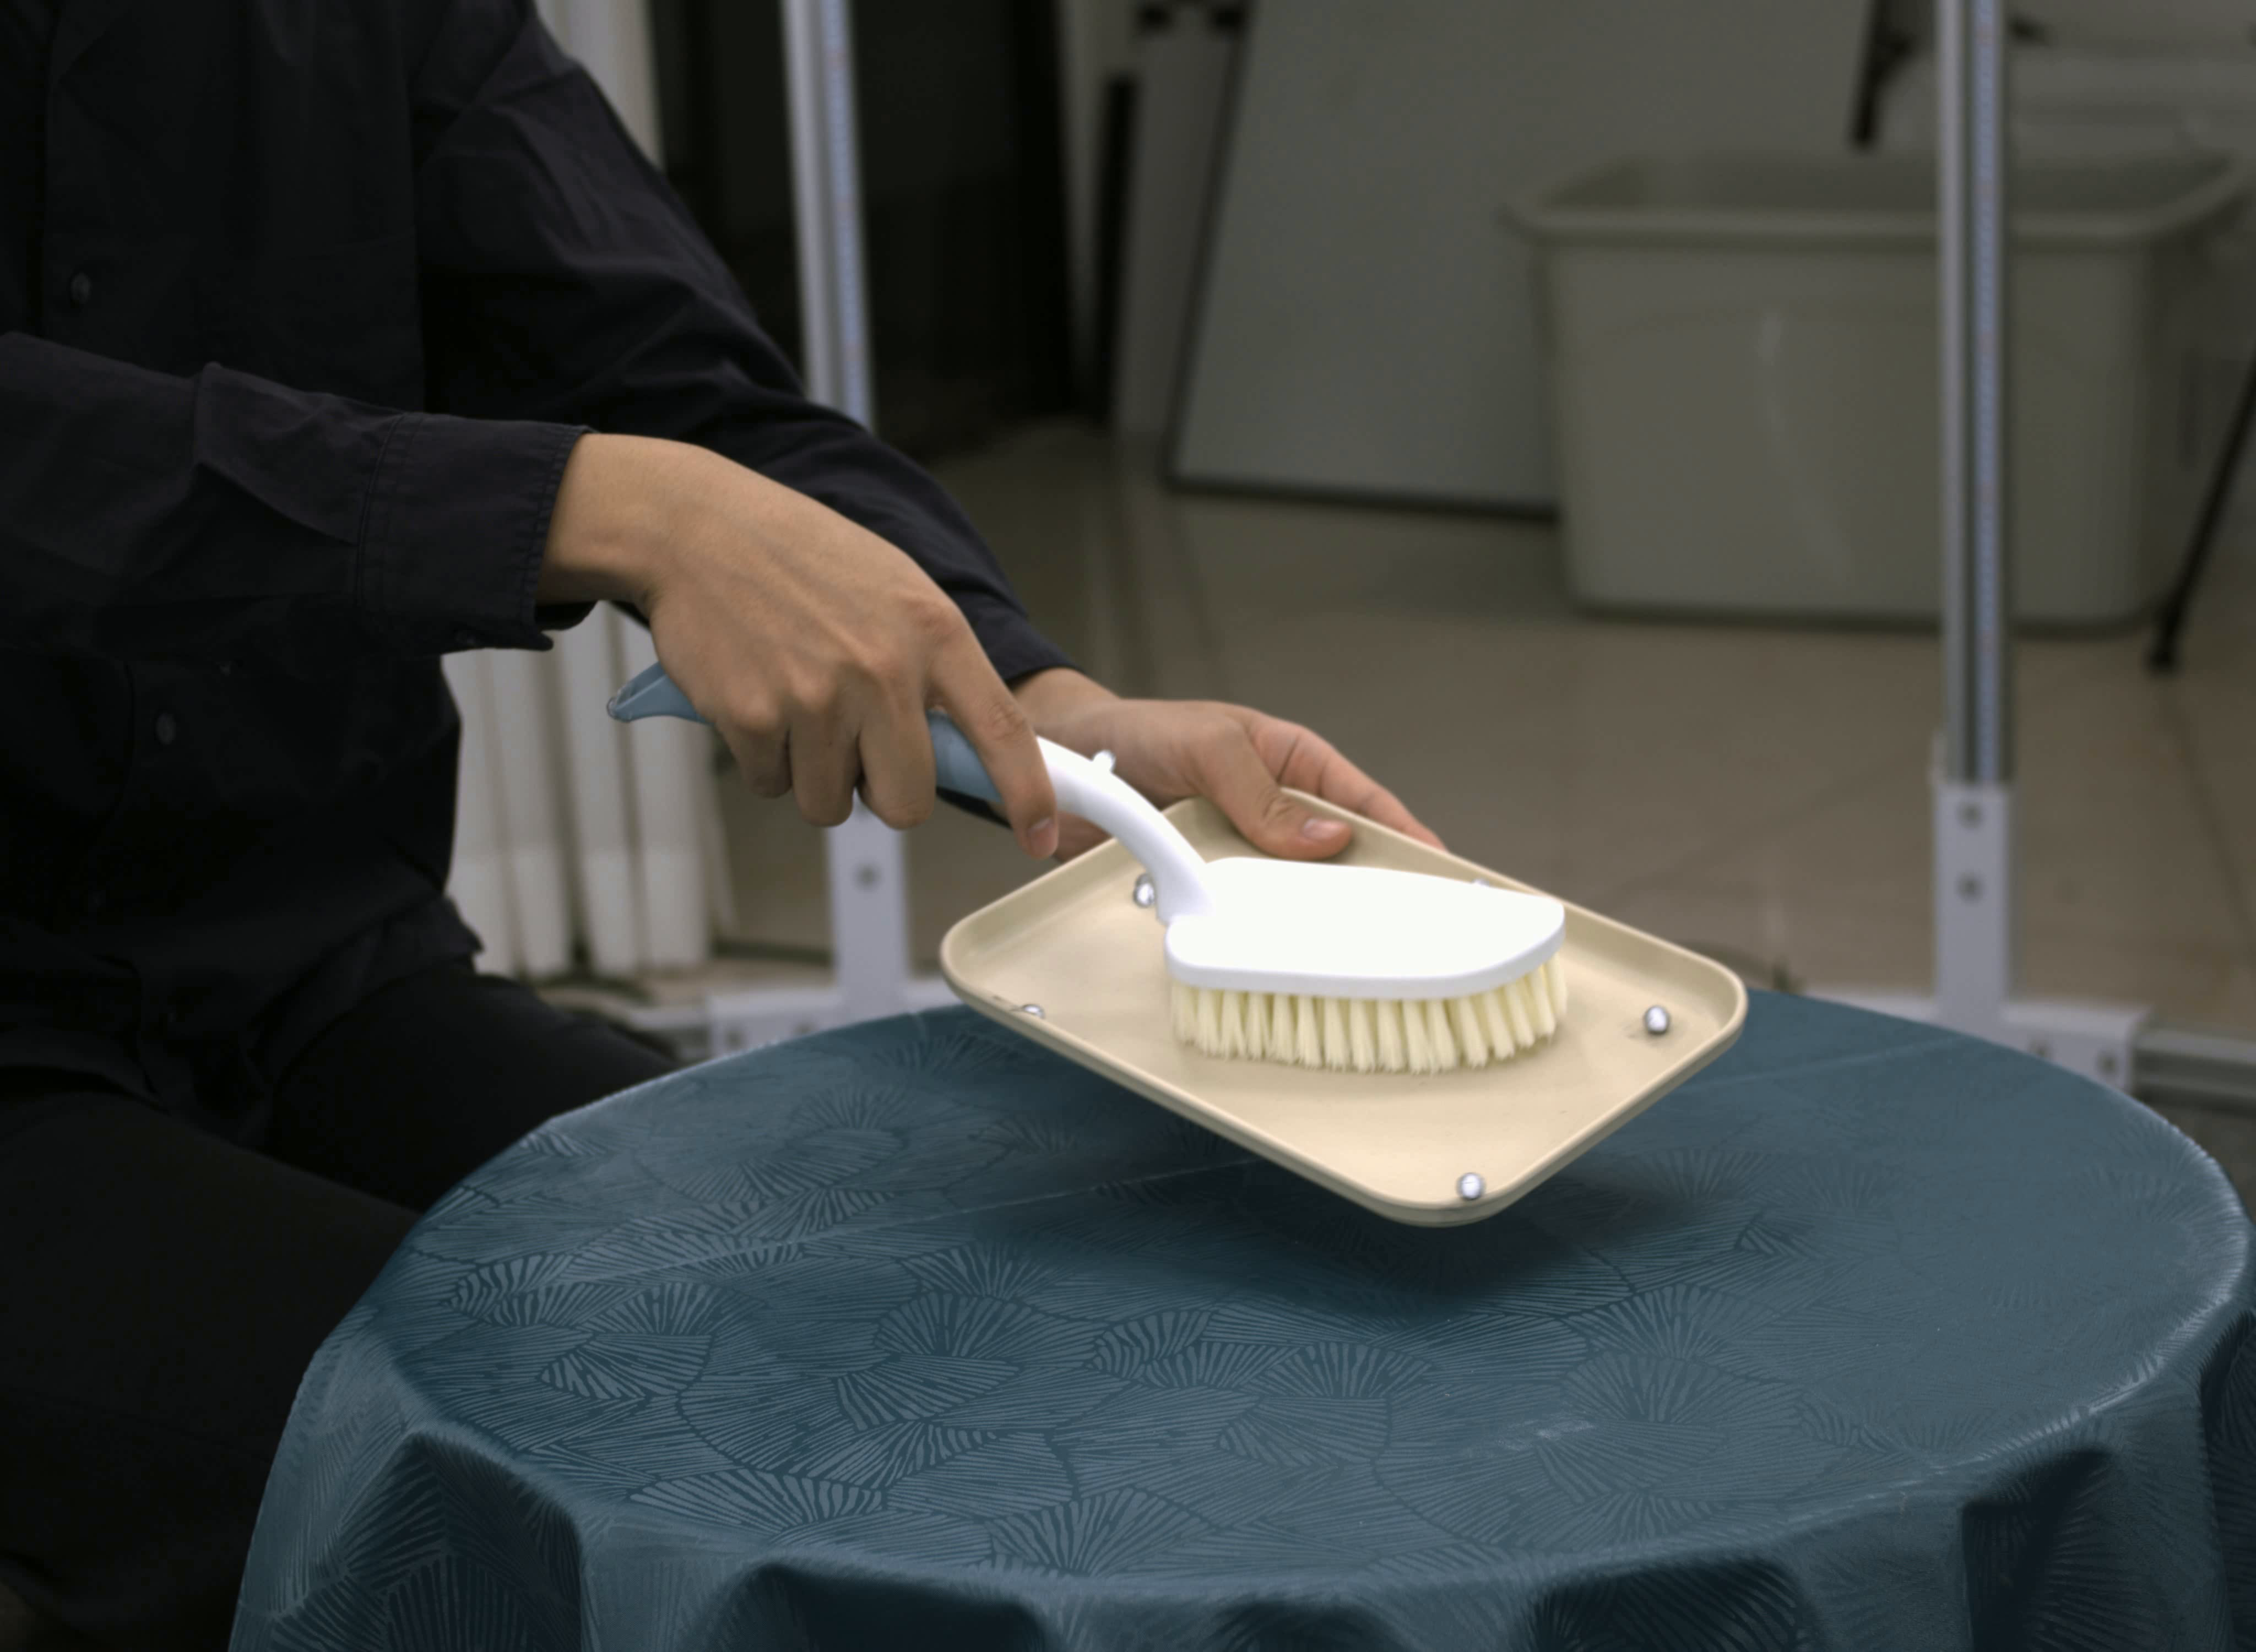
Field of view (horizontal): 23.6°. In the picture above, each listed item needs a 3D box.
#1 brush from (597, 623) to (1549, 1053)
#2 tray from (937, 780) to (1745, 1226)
[{"bbox_3d":[-0.020,0.014,1.753,0.323,0.085,0.083,15,-5,7],"label":"brush"},{"bbox_3d":[0.068,0.056,1.745,0.242,0.017,0.168,24,40,39],"label":"tray"}]
